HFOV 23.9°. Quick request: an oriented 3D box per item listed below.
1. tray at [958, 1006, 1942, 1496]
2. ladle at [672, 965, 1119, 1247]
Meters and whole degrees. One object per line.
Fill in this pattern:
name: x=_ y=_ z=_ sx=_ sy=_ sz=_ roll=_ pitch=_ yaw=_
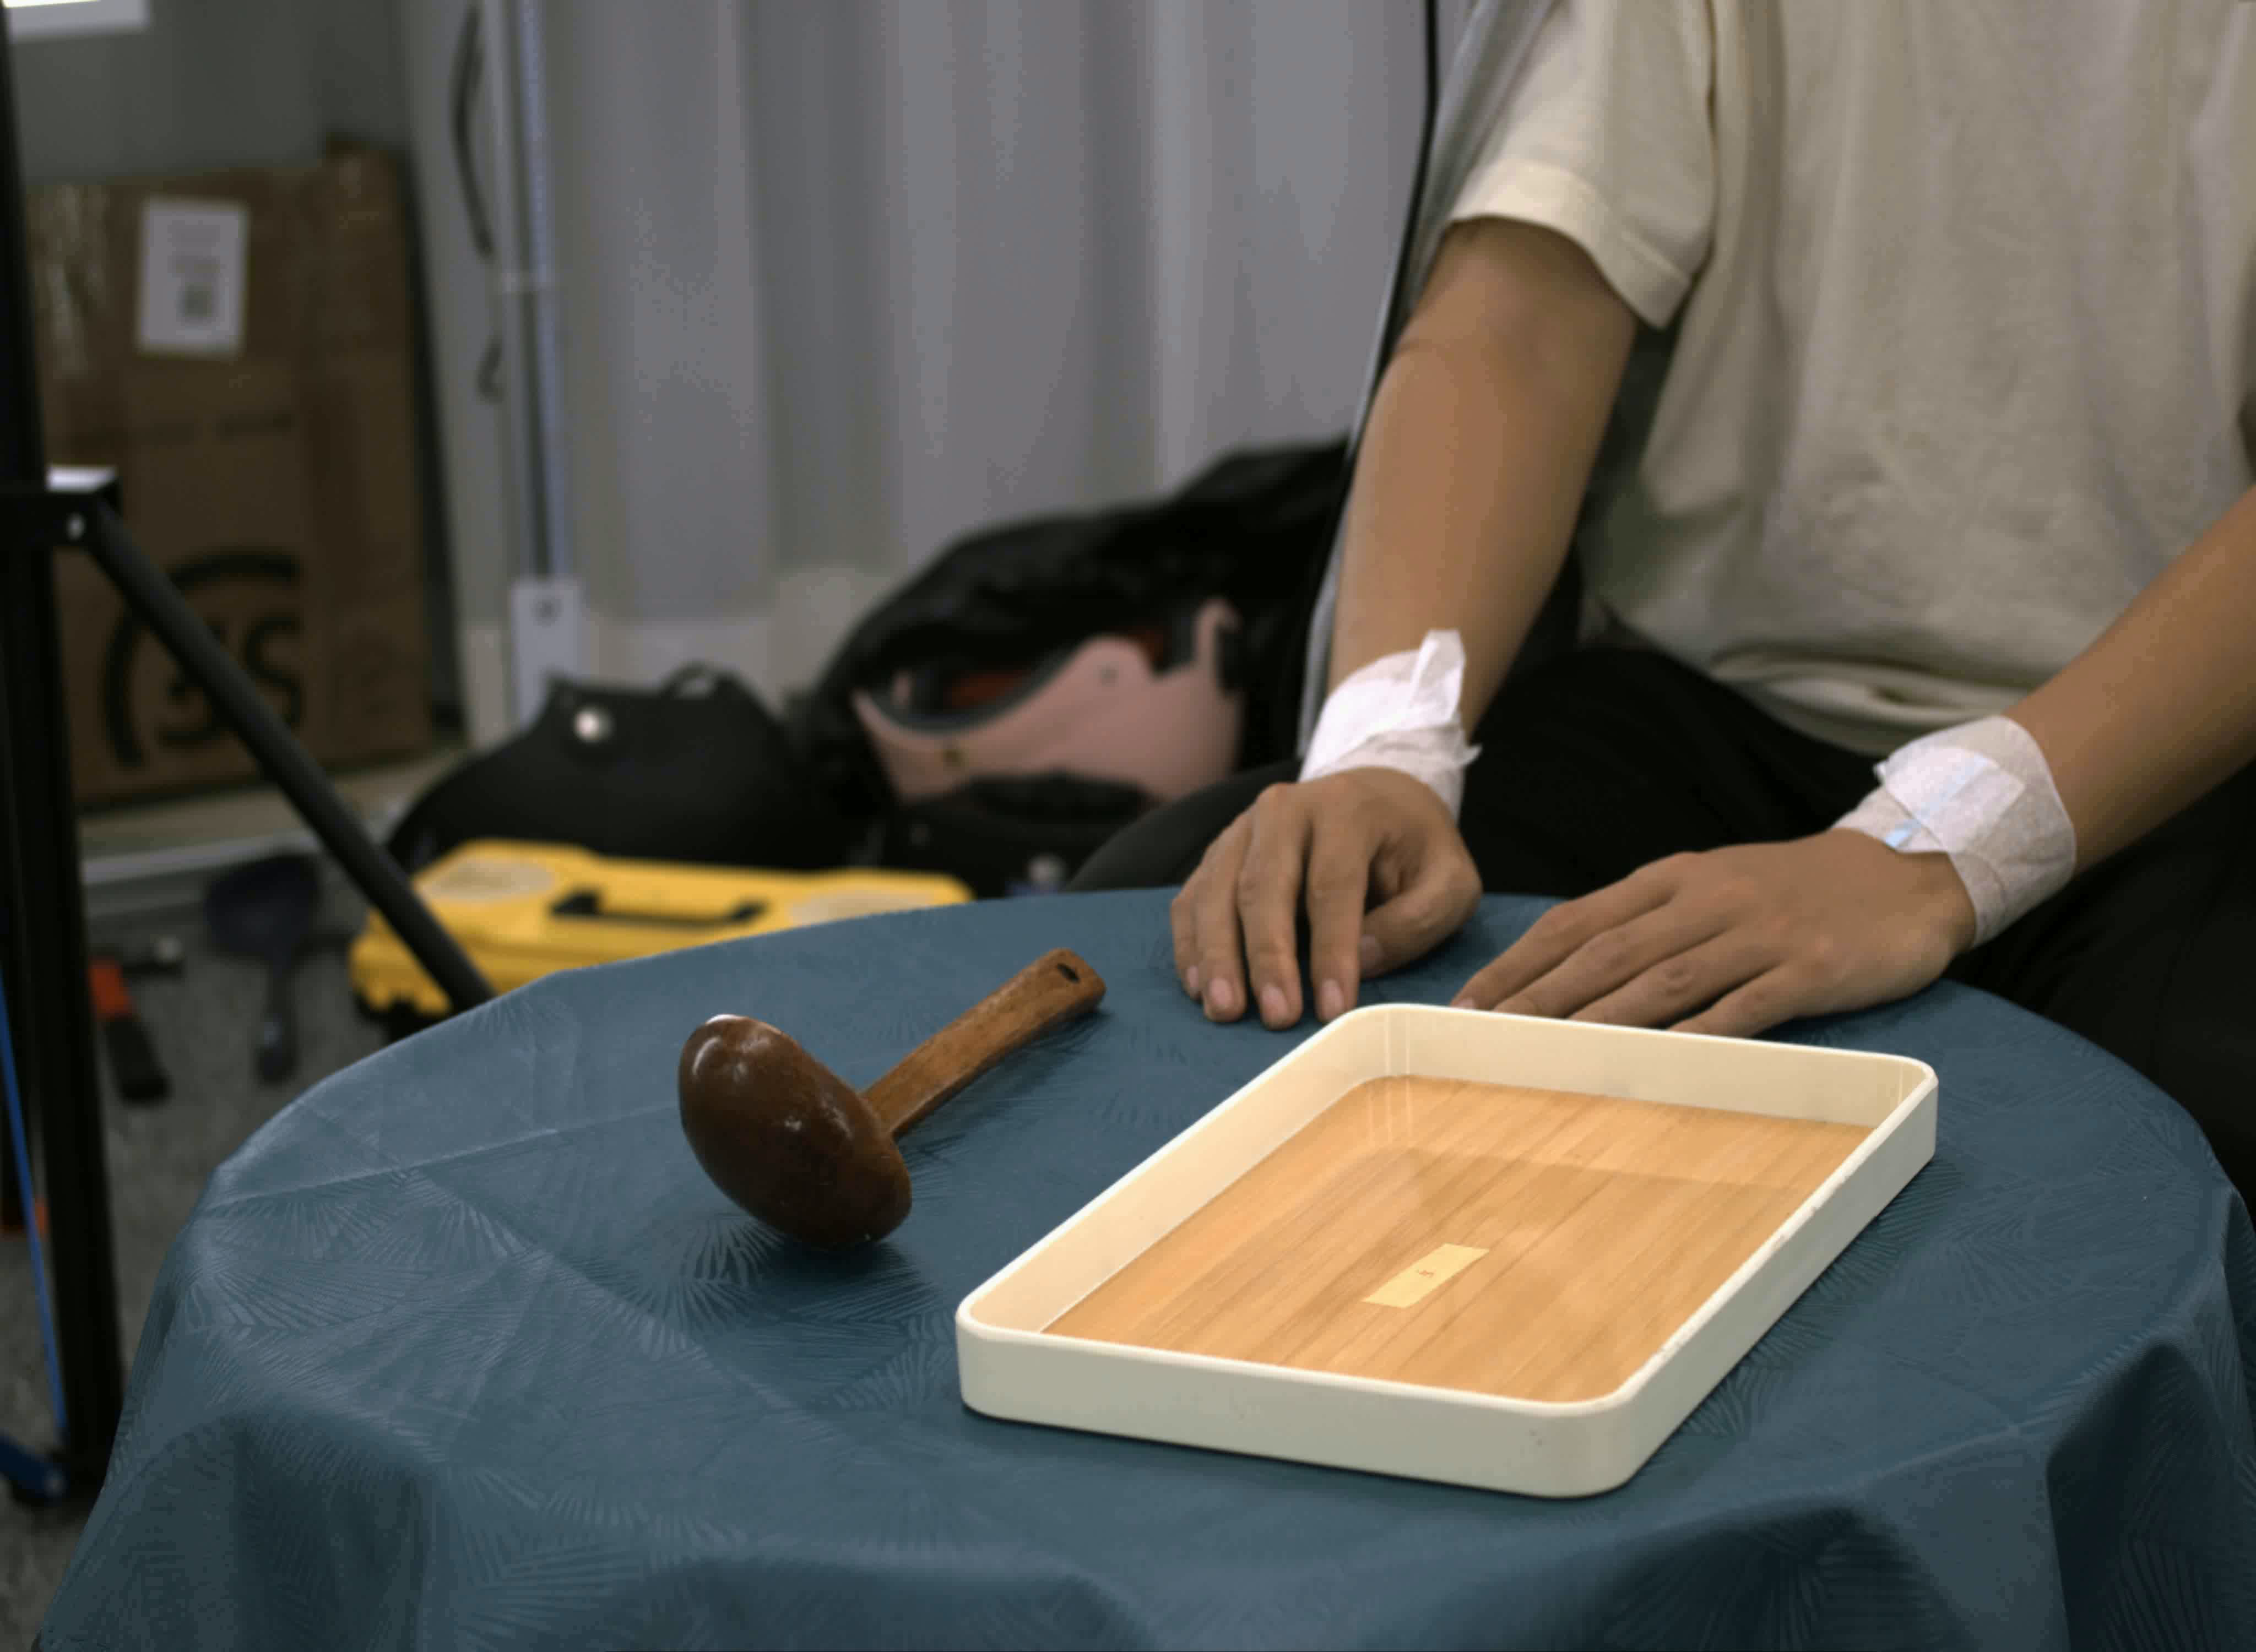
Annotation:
tray: x=0.098 y=0.112 z=1.474 sx=0.194 sy=0.027 sz=0.295 roll=5 pitch=17 yaw=26
ladle: x=-0.053 y=0.062 z=1.601 sx=0.082 sy=0.077 sz=0.270 roll=42 pitch=28 yaw=10
